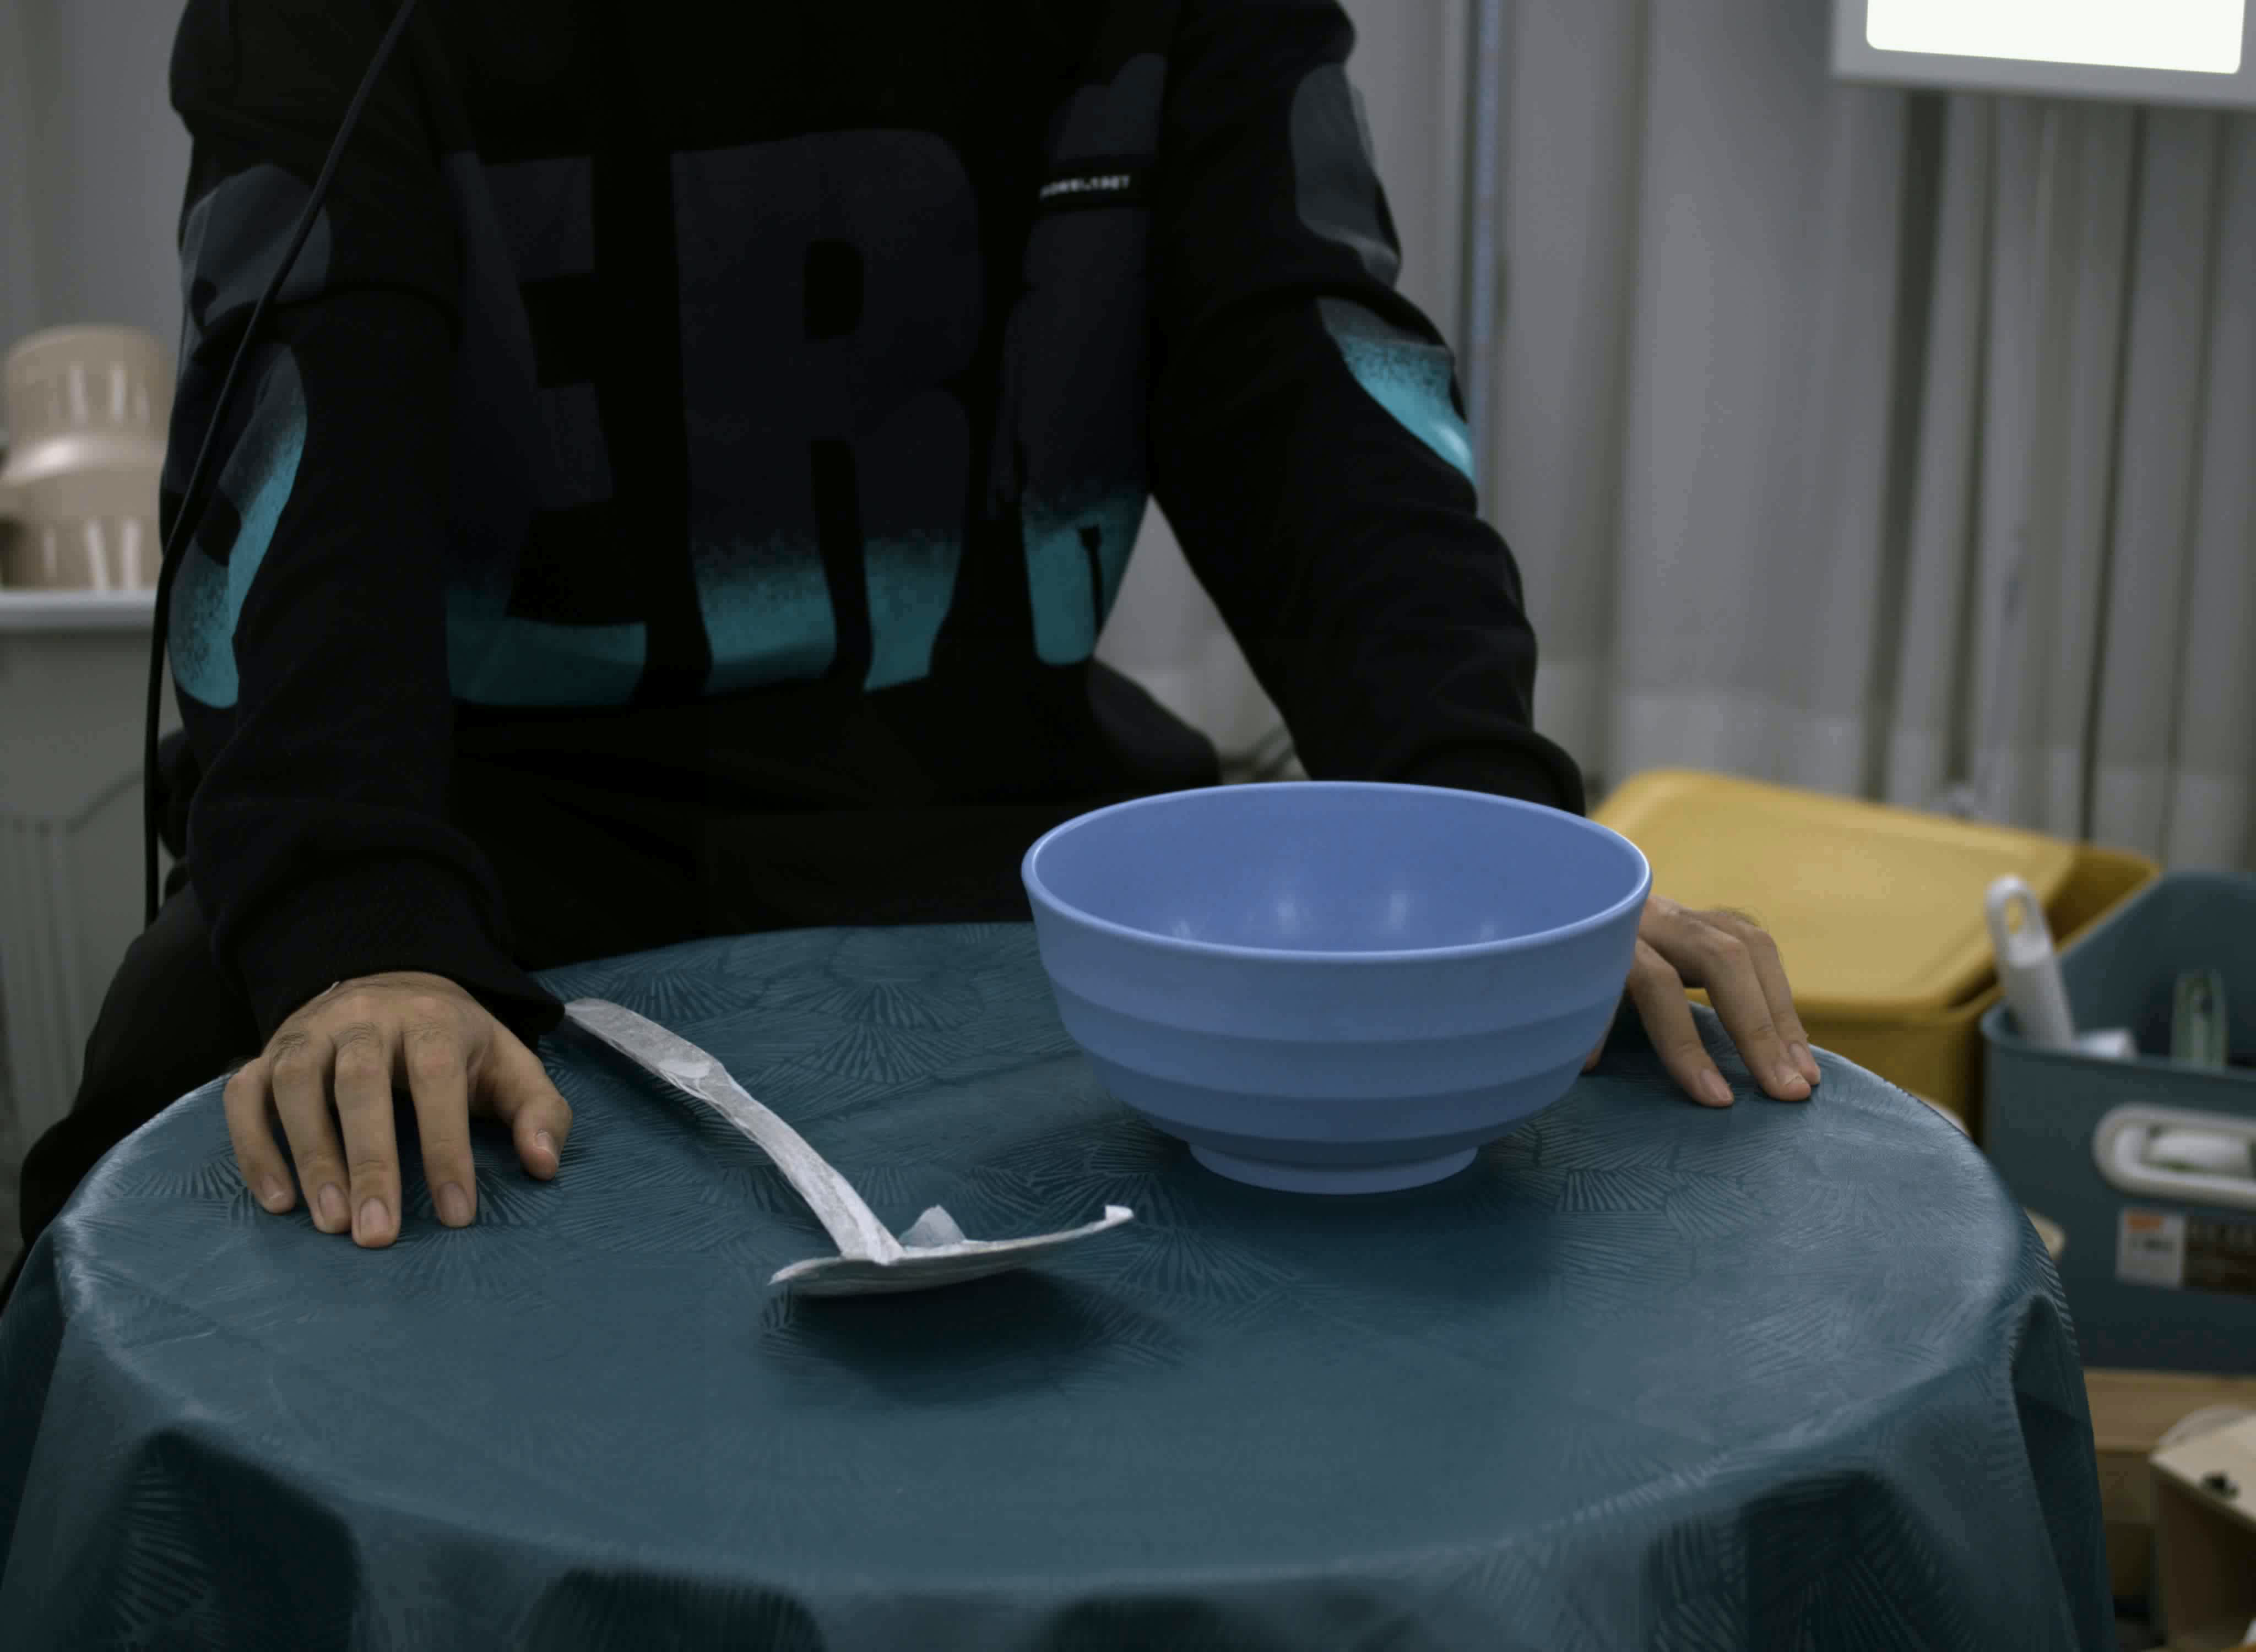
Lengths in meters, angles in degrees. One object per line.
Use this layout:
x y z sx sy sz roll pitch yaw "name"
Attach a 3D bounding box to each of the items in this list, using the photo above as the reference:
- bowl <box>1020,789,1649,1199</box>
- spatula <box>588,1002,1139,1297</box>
0.065 0.058 1.653 0.196 0.096 0.195 -1 15 1 "bowl"
-0.108 0.090 1.630 0.099 0.045 0.360 -9 18 -23 "spatula"
